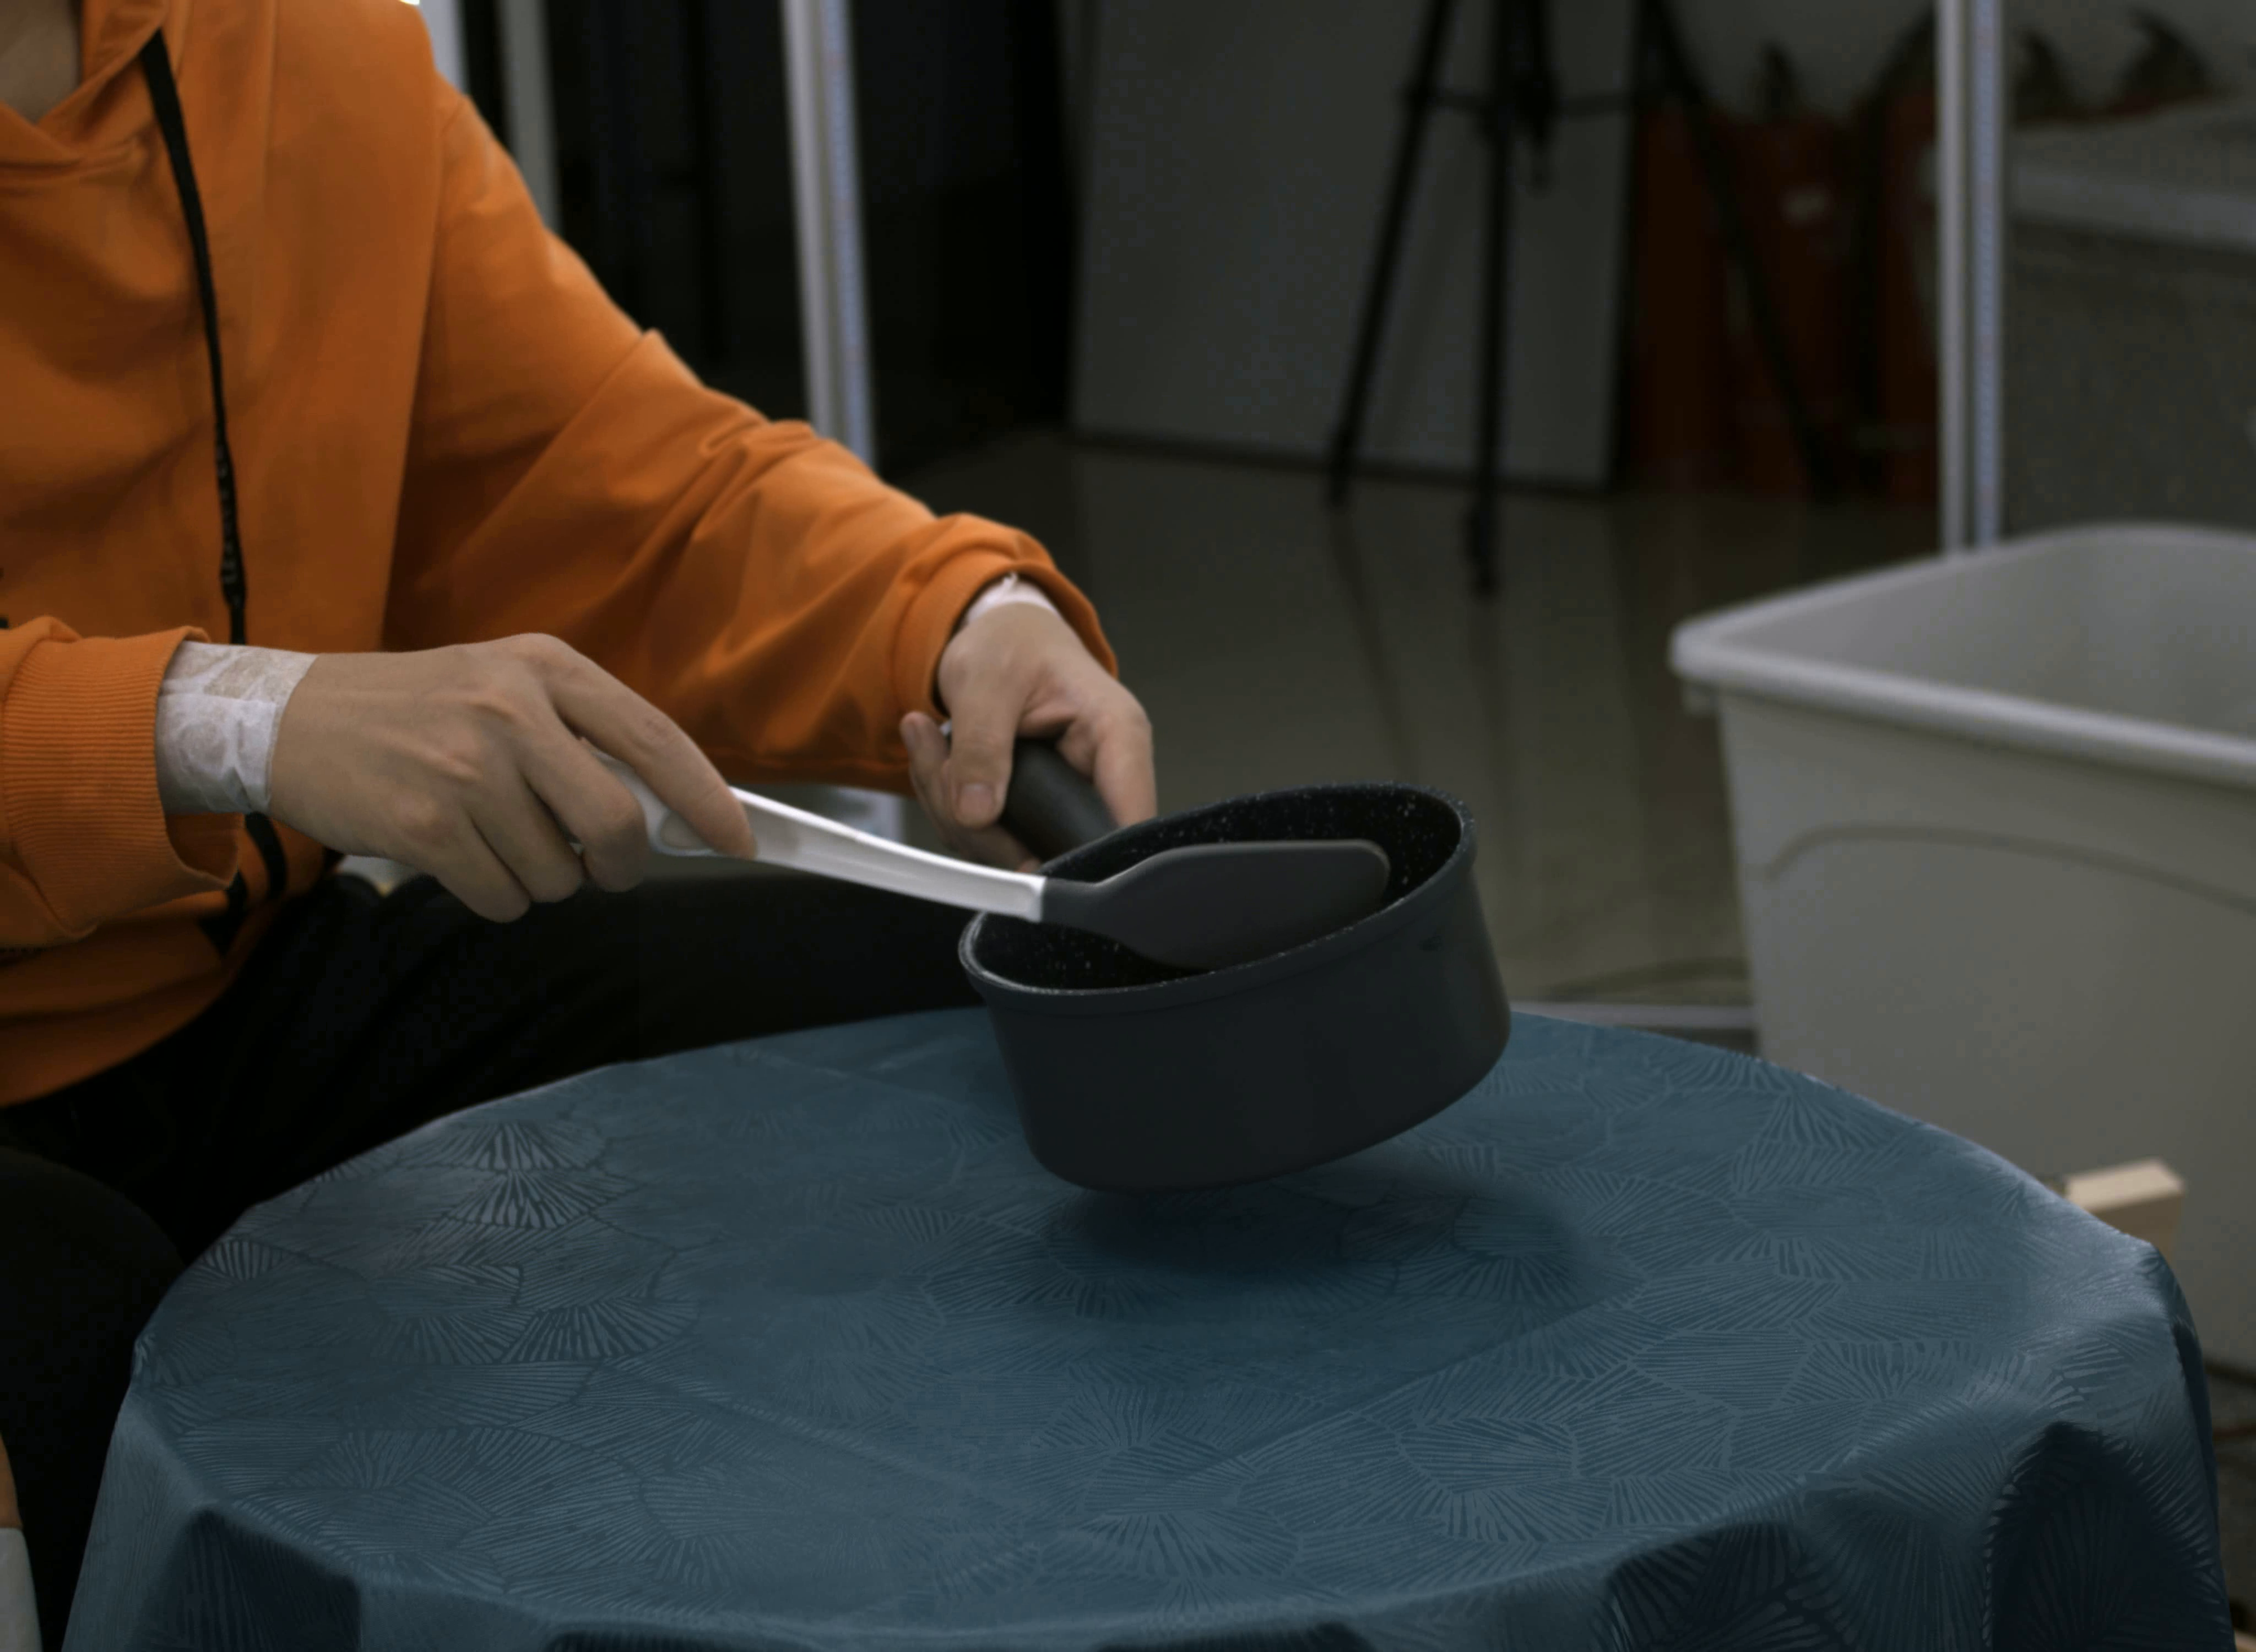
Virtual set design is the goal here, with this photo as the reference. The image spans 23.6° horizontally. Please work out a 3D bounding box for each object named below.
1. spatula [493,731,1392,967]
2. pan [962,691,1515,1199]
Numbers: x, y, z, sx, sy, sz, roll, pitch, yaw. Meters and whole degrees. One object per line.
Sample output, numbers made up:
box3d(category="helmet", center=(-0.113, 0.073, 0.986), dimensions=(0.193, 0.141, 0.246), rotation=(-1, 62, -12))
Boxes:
box3d(category="spatula", center=(-0.059, 0.009, 1.685), dimensions=(0.285, 0.059, 0.032), rotation=(9, 36, 10))
box3d(category="pan", center=(0.012, 0.032, 1.799), dimensions=(0.169, 0.087, 0.331), rotation=(-19, 19, -13))
